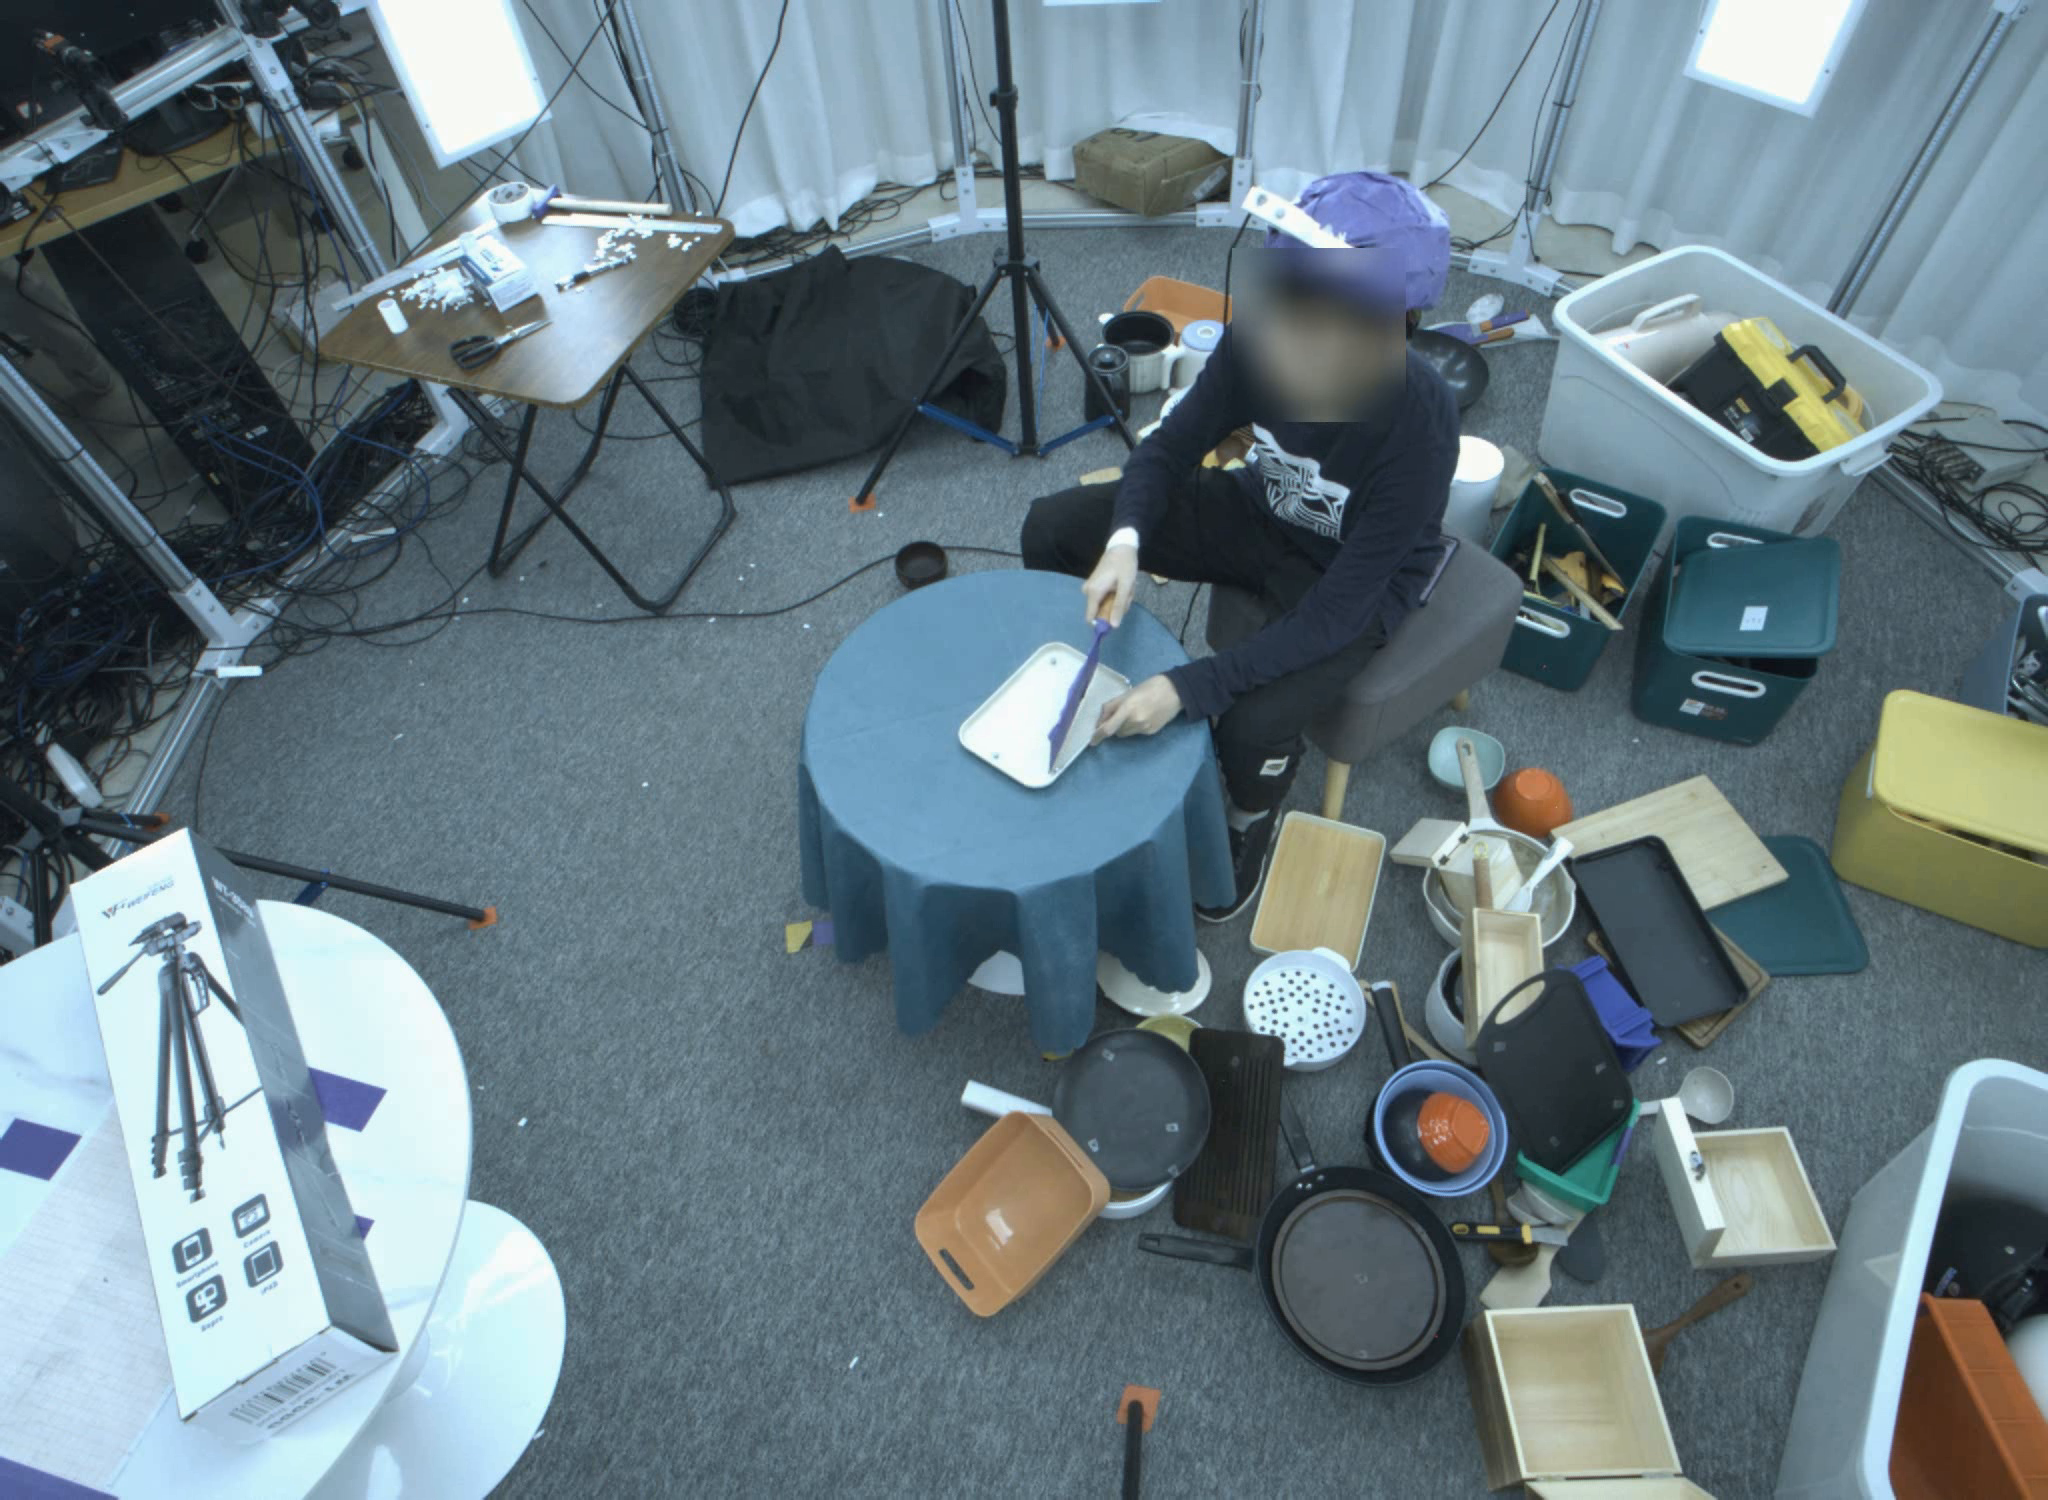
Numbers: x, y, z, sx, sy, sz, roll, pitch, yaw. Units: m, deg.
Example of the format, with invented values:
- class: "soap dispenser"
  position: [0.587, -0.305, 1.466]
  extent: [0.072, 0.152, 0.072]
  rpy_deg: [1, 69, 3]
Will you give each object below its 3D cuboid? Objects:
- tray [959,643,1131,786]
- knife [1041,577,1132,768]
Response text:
- class: "tray"
  position: [0.032, -0.054, 1.819]
  extent: [0.168, 0.018, 0.241]
  rpy_deg: [32, 62, 24]
- class: "knife"
  position: [0.087, -0.115, 1.801]
  extent: [0.032, 0.104, 0.315]
  rpy_deg: [21, 60, 10]
